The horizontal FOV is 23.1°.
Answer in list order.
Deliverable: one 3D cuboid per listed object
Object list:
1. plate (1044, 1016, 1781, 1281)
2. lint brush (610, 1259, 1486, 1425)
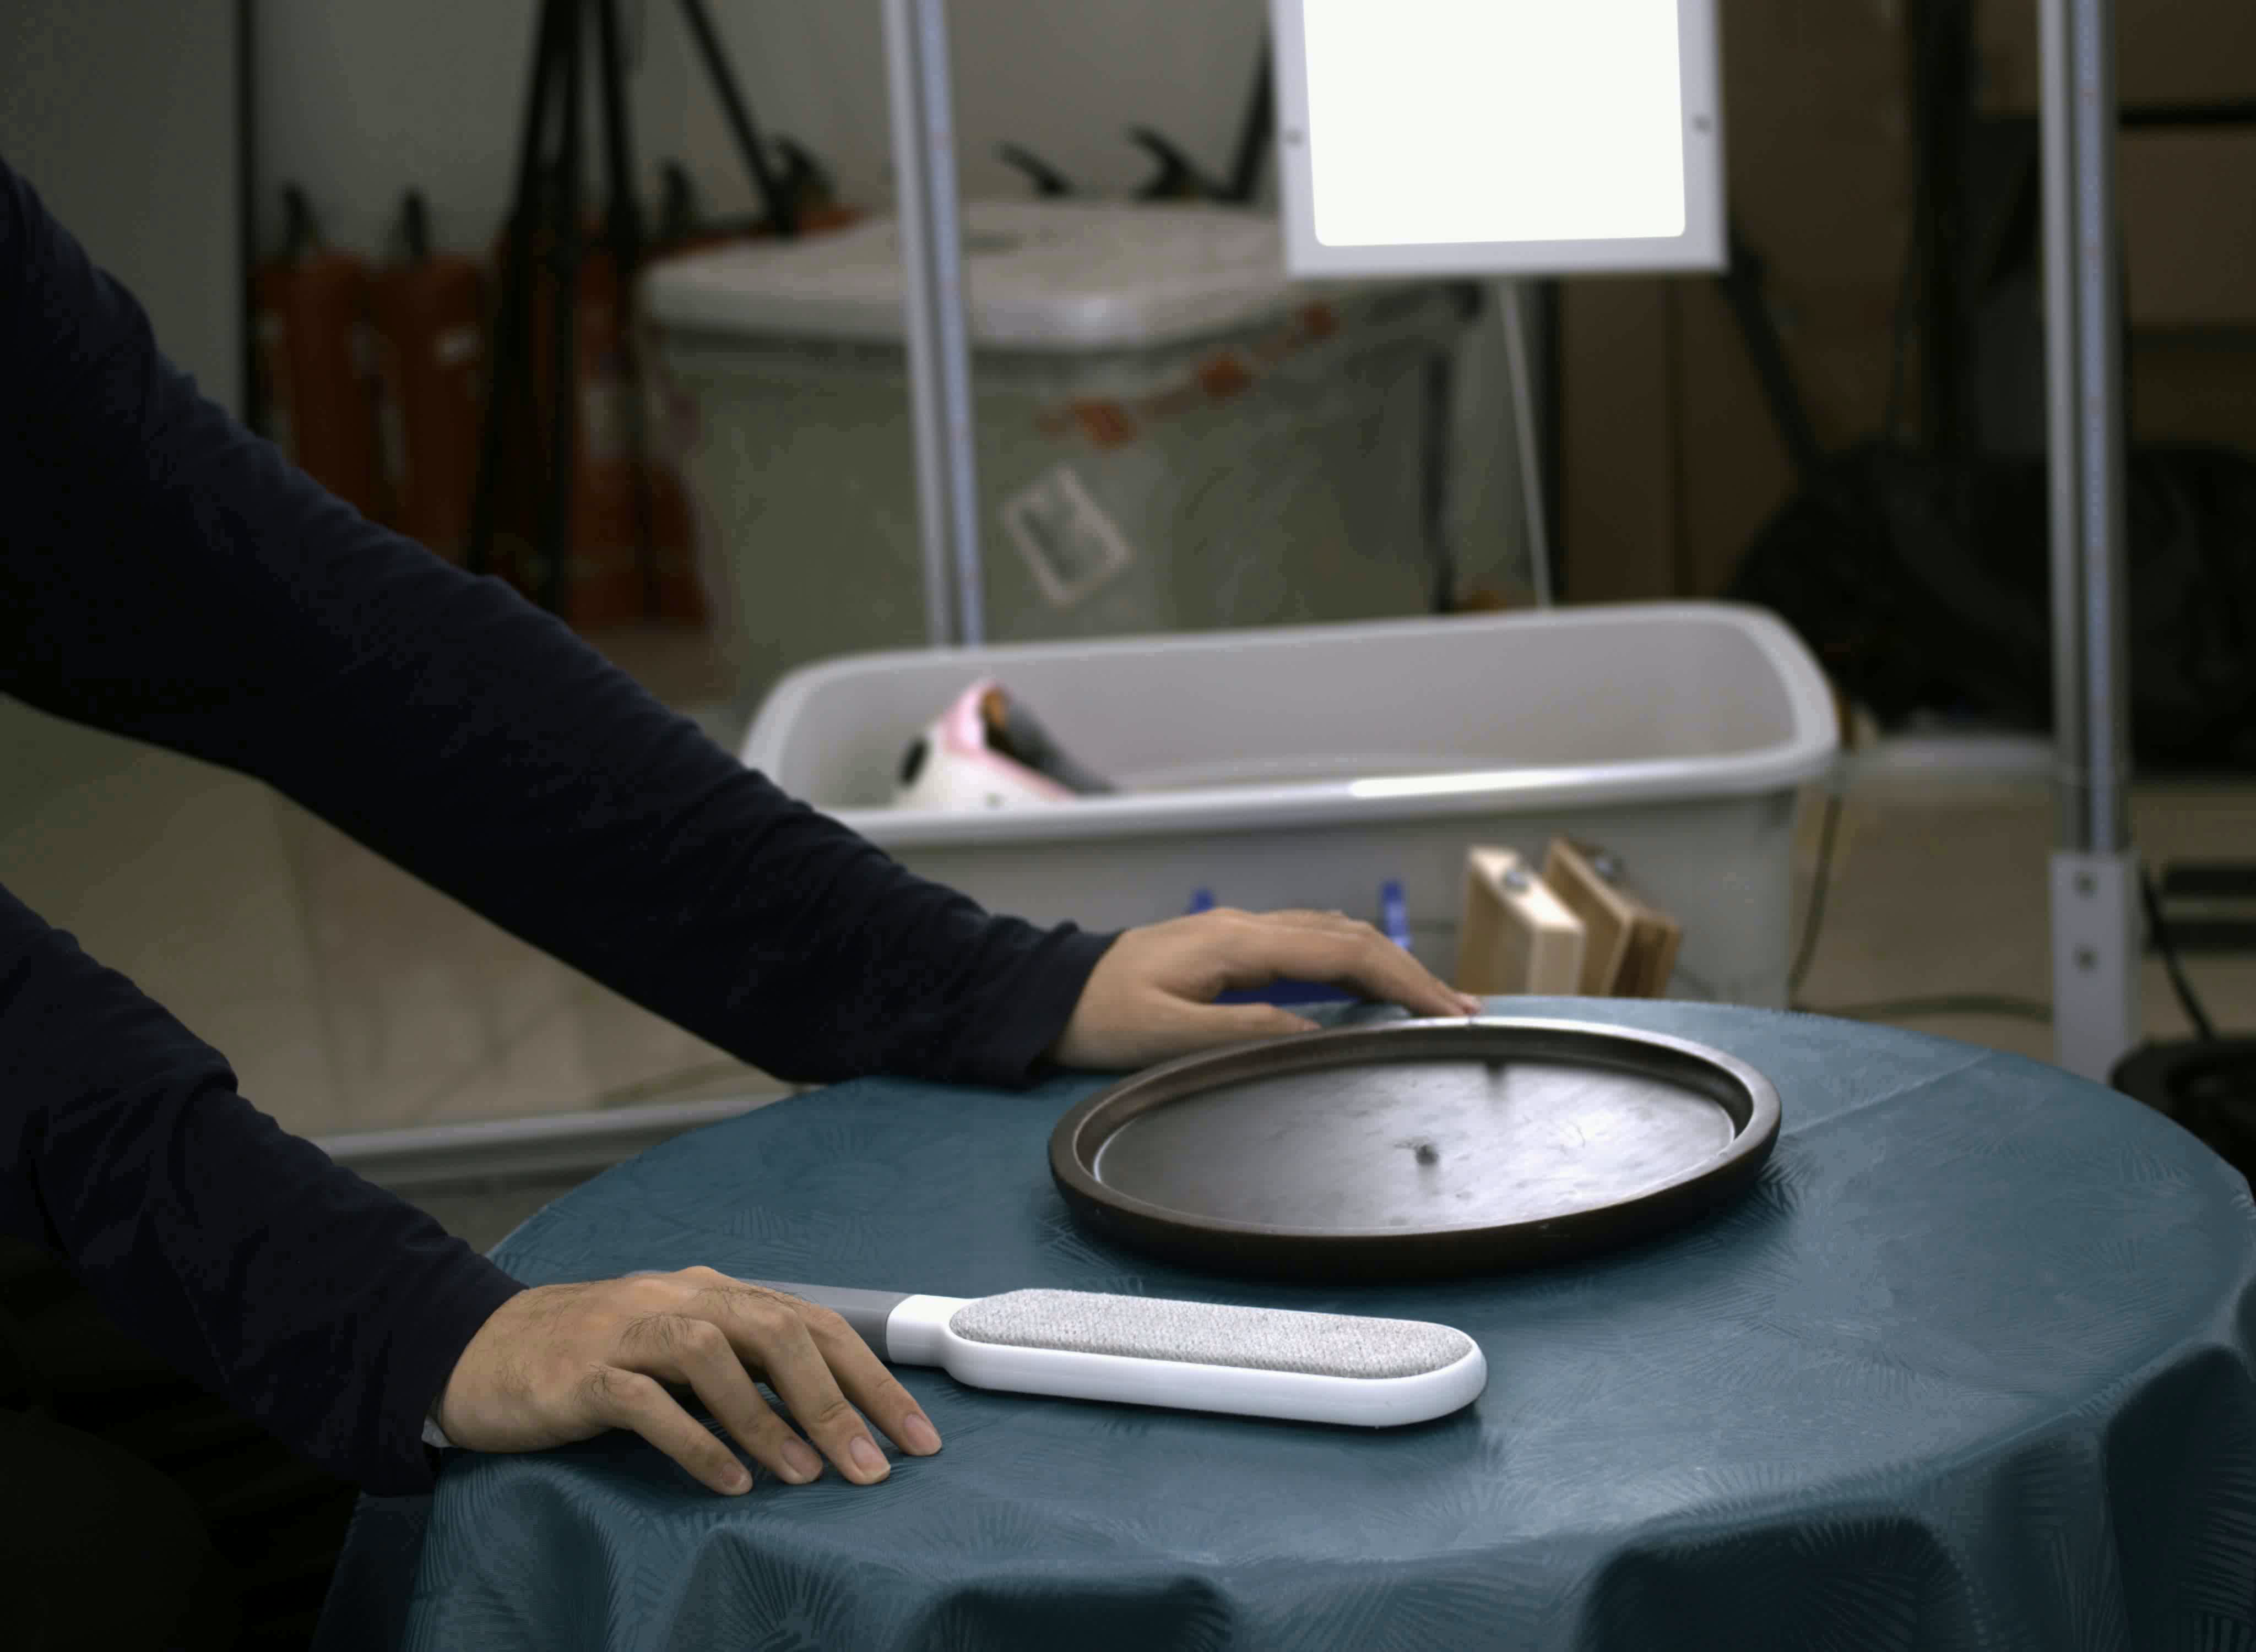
[{"bbox_3d":[0.098,0.109,1.886,0.254,0.029,0.254,-4,12,0],"label":"plate"},{"bbox_3d":[-0.031,0.158,1.729,0.314,0.021,0.059,3,21,30],"label":"lint brush"}]
